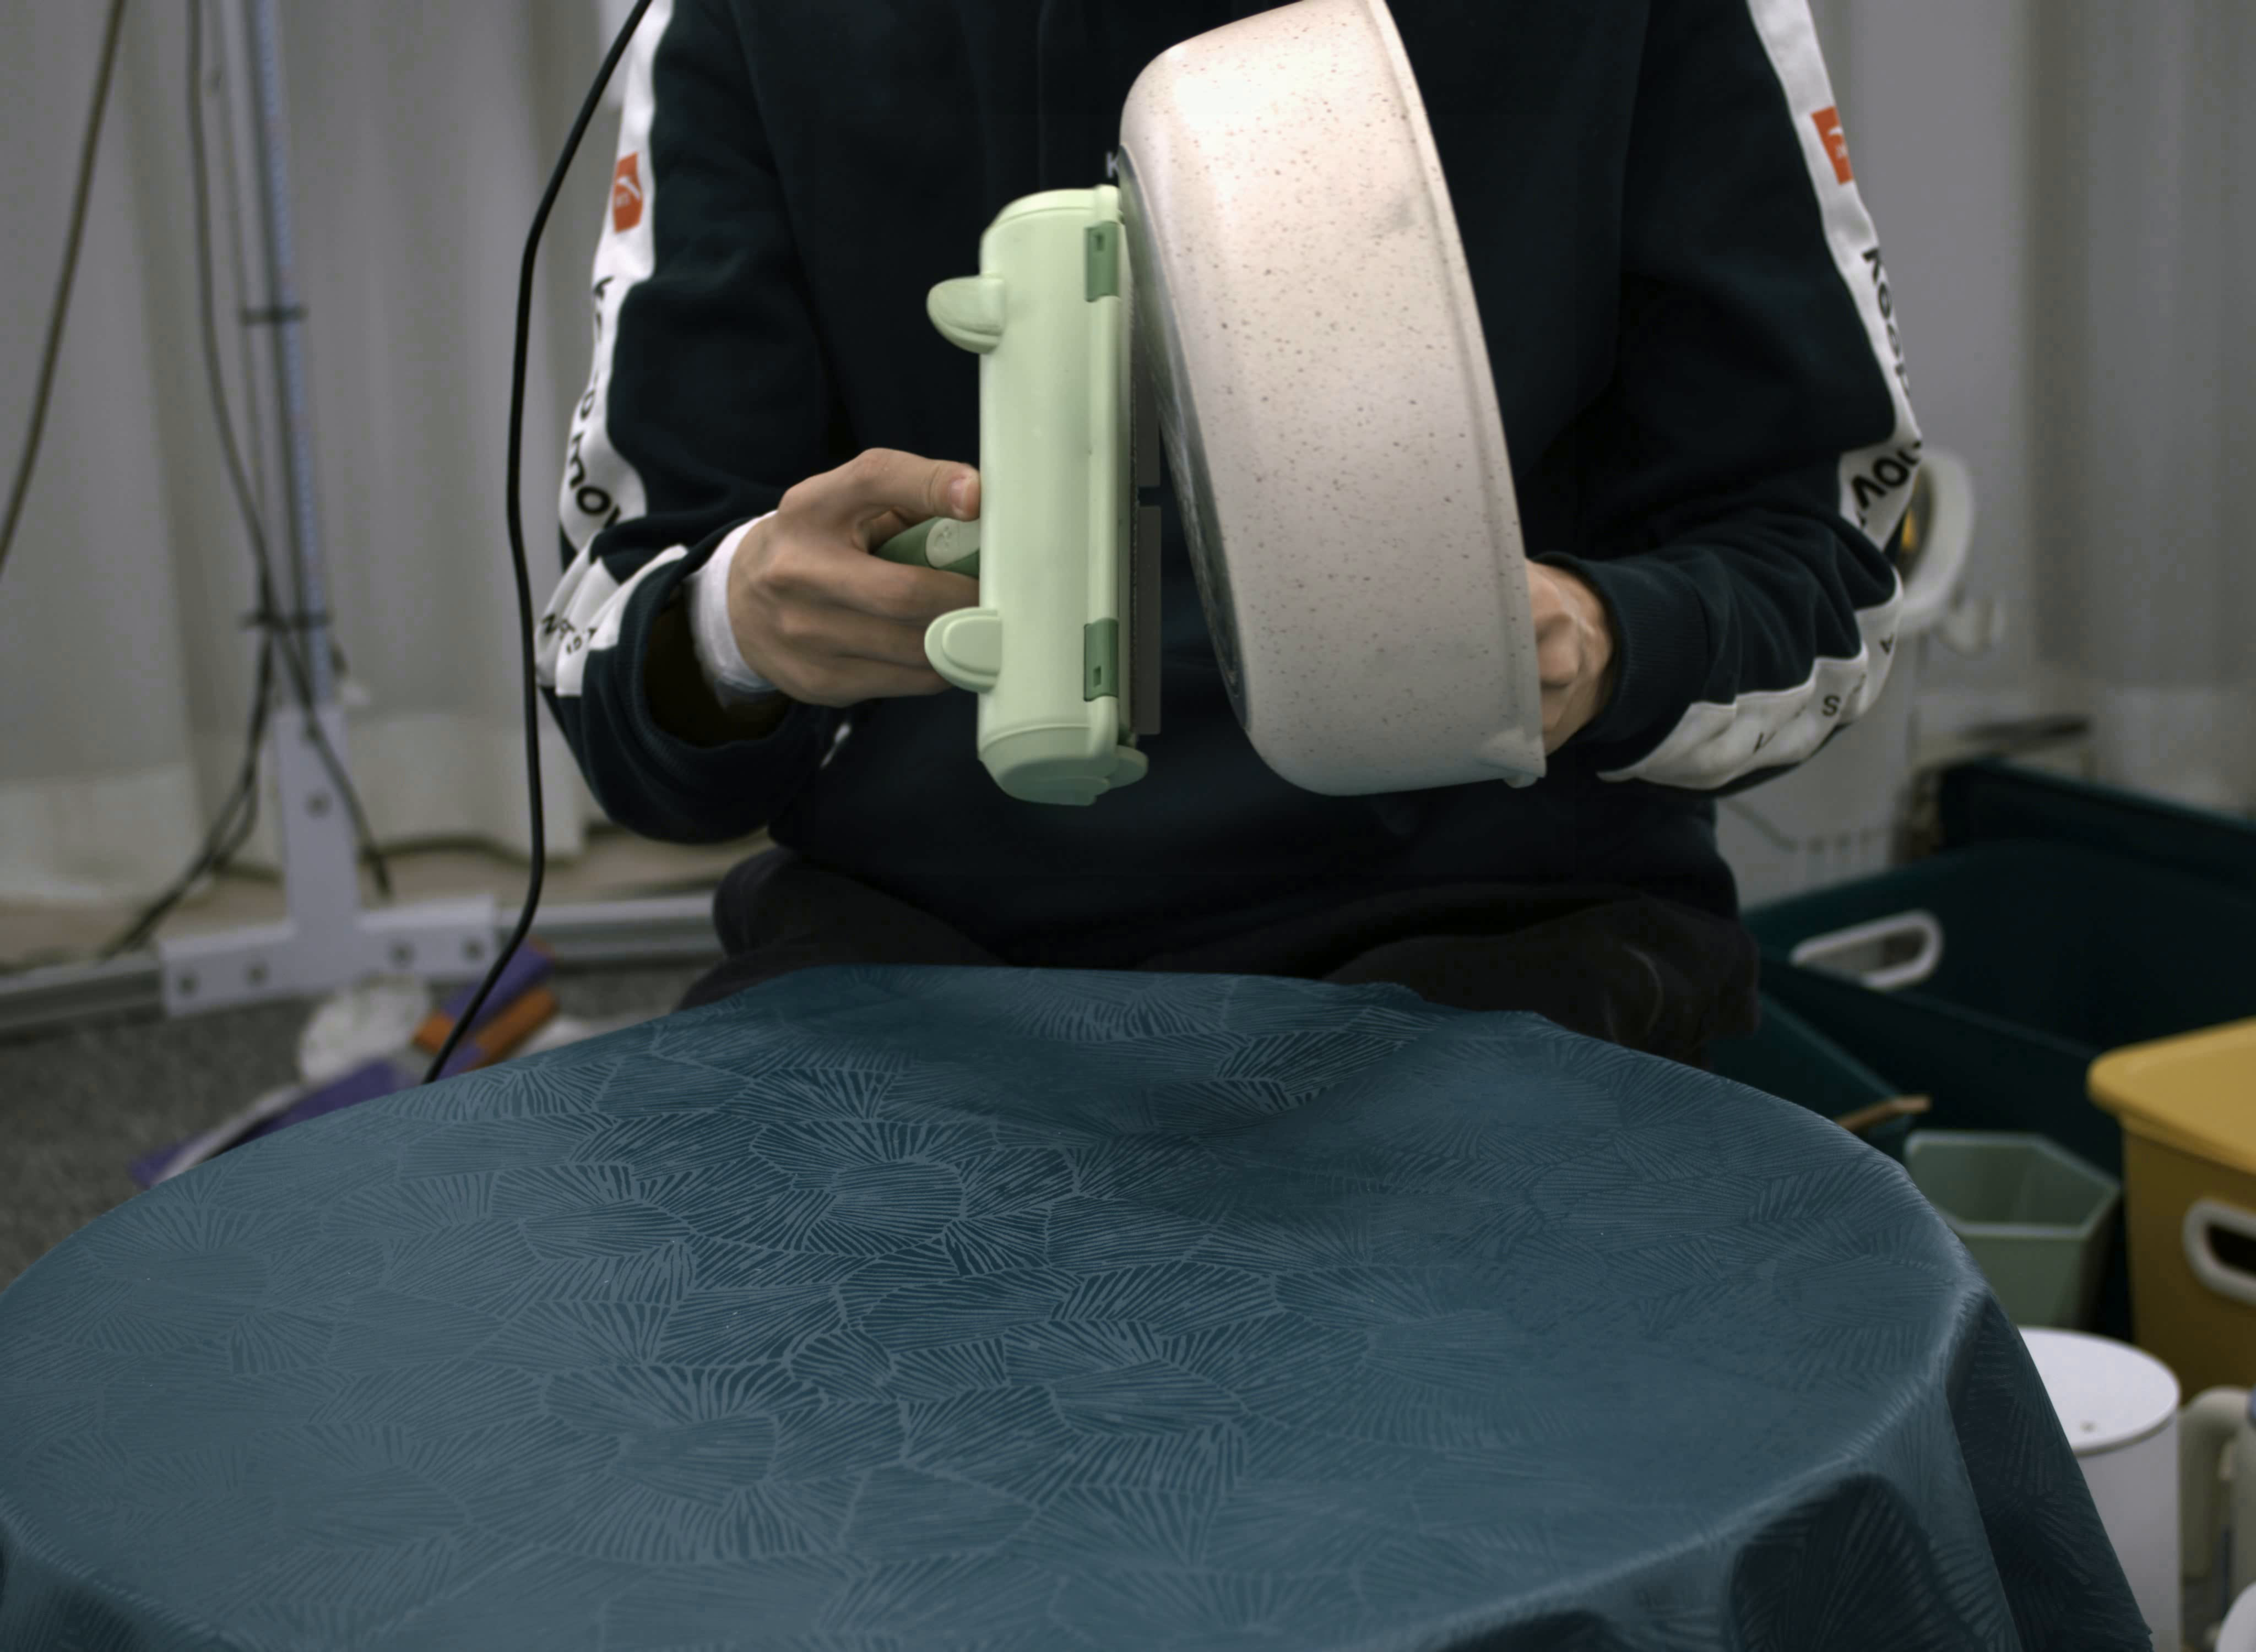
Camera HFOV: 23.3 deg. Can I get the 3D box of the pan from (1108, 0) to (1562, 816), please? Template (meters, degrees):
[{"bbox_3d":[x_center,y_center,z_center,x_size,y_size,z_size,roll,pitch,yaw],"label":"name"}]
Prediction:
[{"bbox_3d":[0.068,-0.091,1.744,0.101,0.266,0.431,-15,-21,-3],"label":"pan"}]

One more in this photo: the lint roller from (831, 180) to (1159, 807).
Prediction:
[{"bbox_3d":[-0.063,-0.094,1.790,0.081,0.201,0.183,13,-23,-38],"label":"lint roller"}]
